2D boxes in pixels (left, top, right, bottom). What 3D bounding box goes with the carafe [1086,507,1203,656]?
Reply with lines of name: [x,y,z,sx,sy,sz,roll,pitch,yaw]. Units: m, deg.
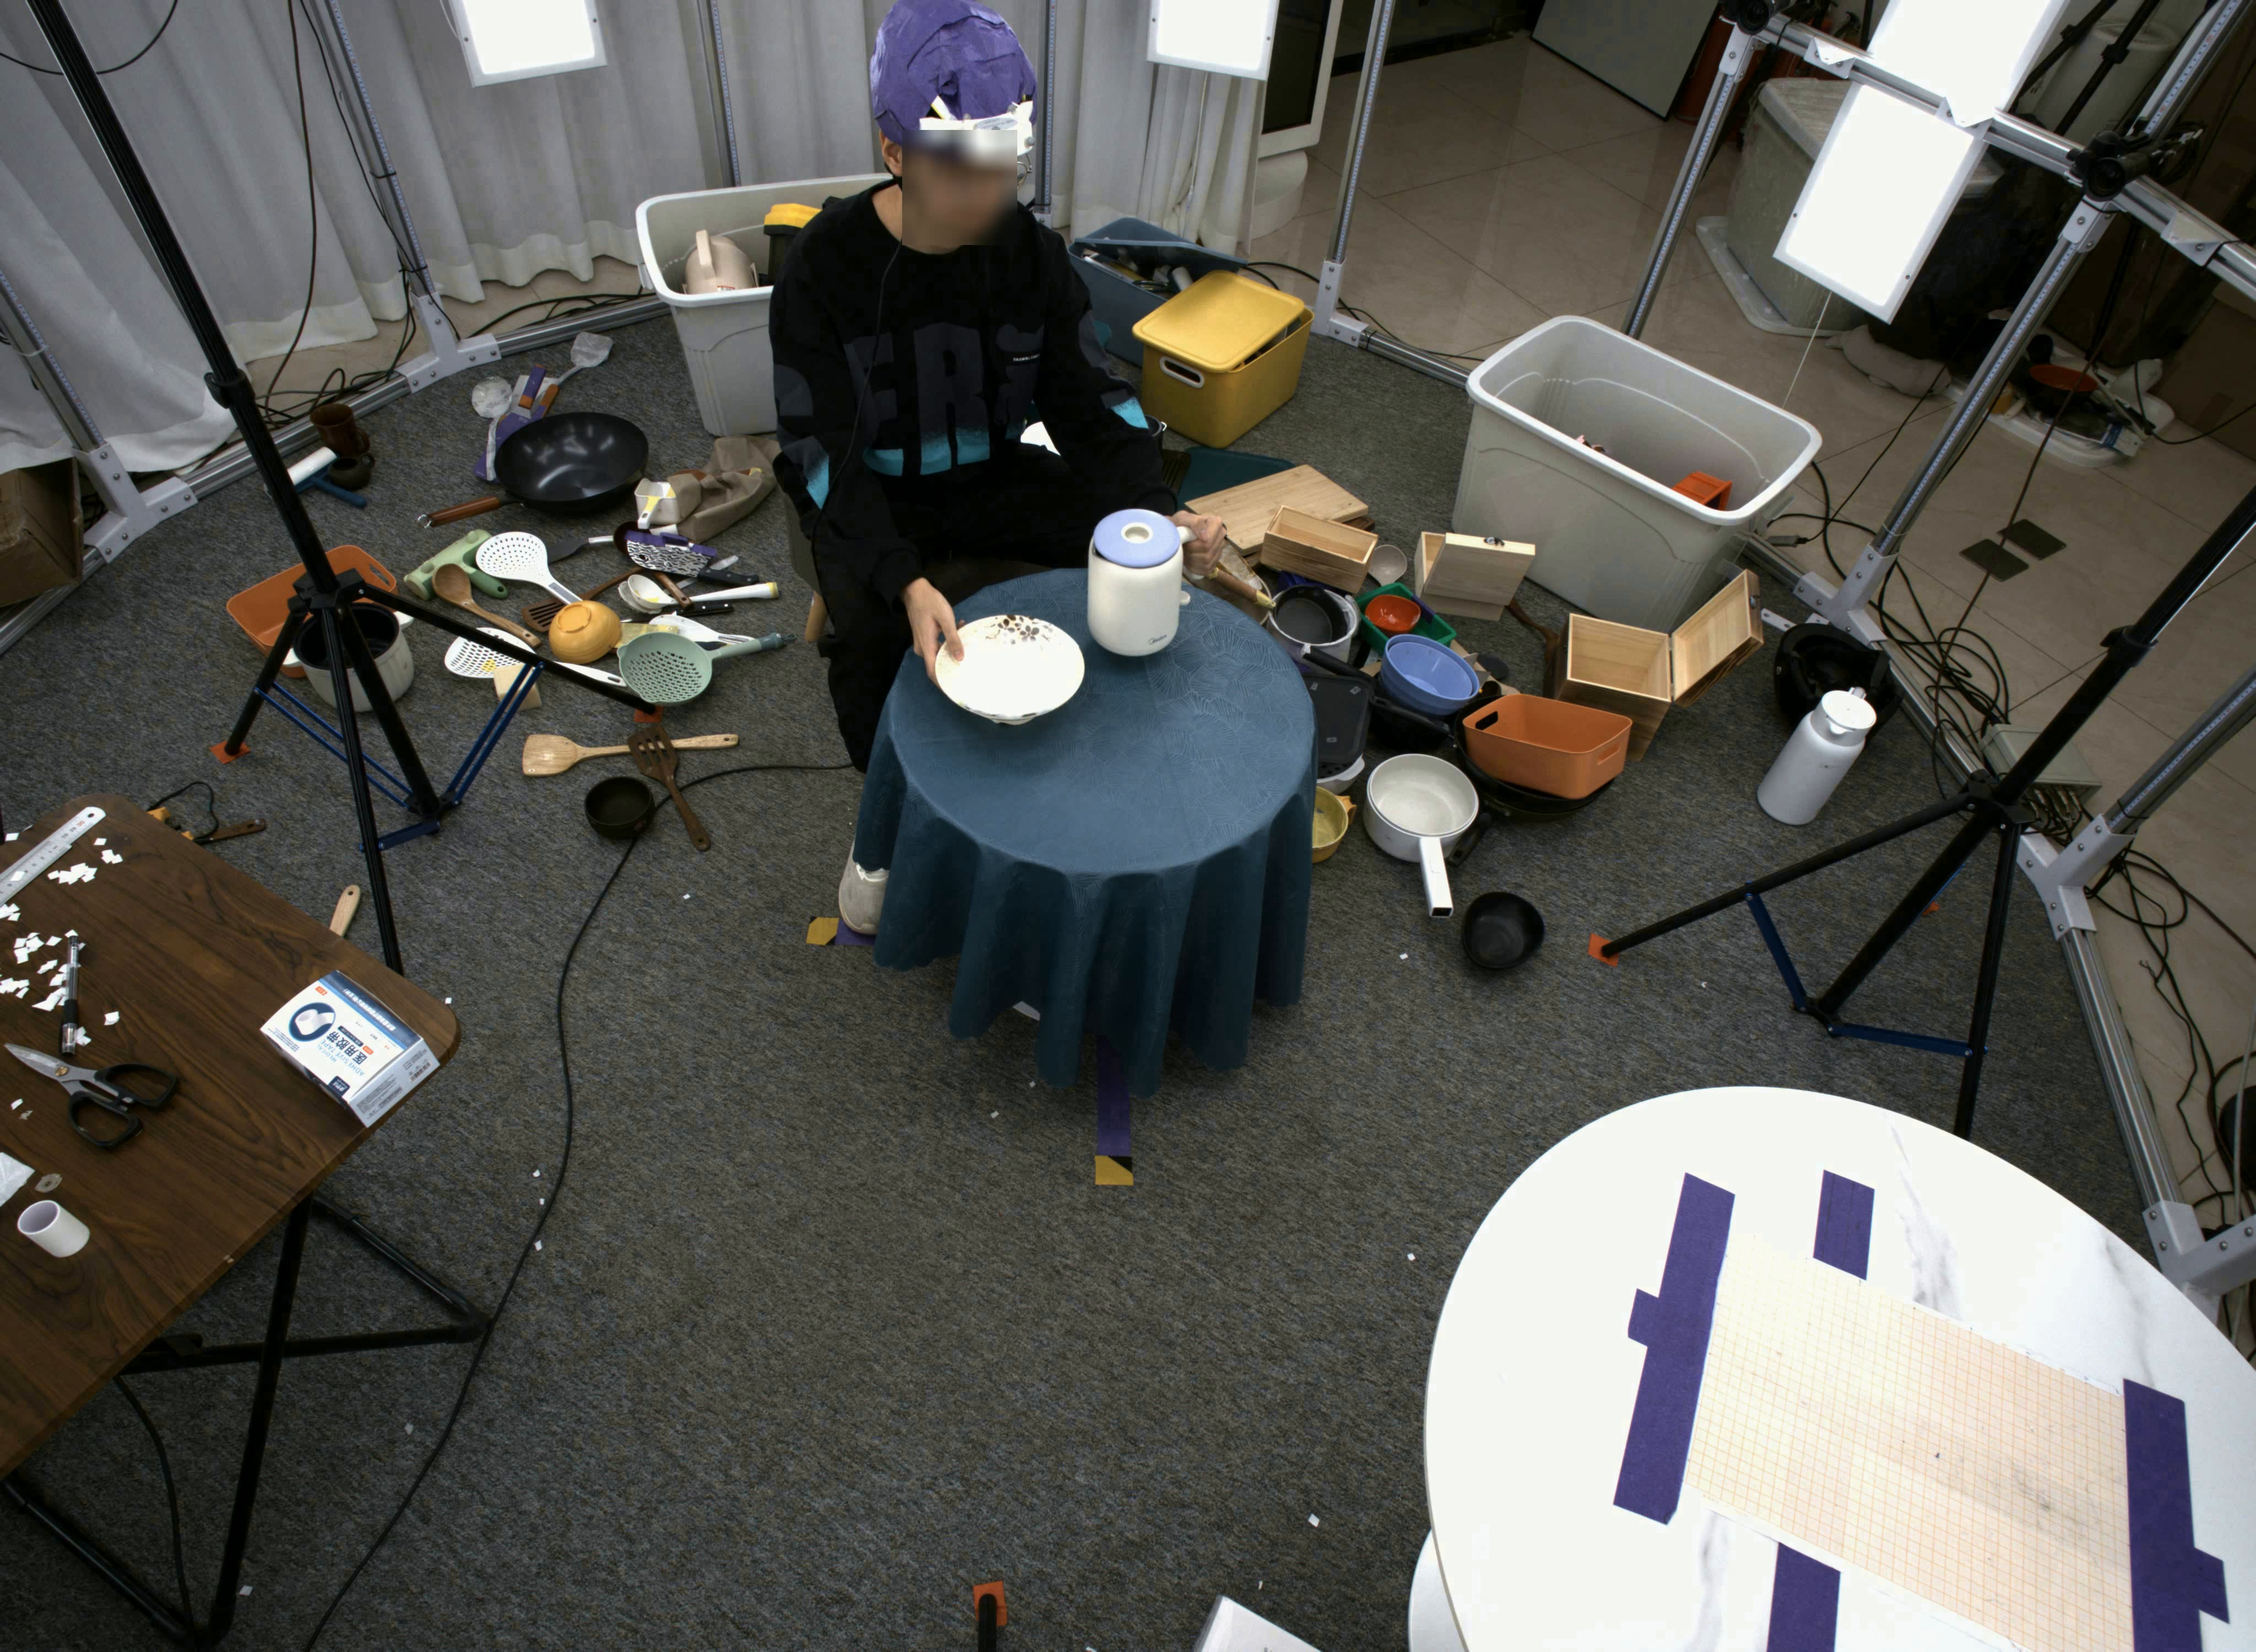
carafe: [0.028,-0.352,1.815,0.192,0.178,0.135,-25,57,-24]

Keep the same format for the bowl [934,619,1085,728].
bowl: [-0.162,-0.193,1.777,0.204,0.076,0.209,1,47,-2]
